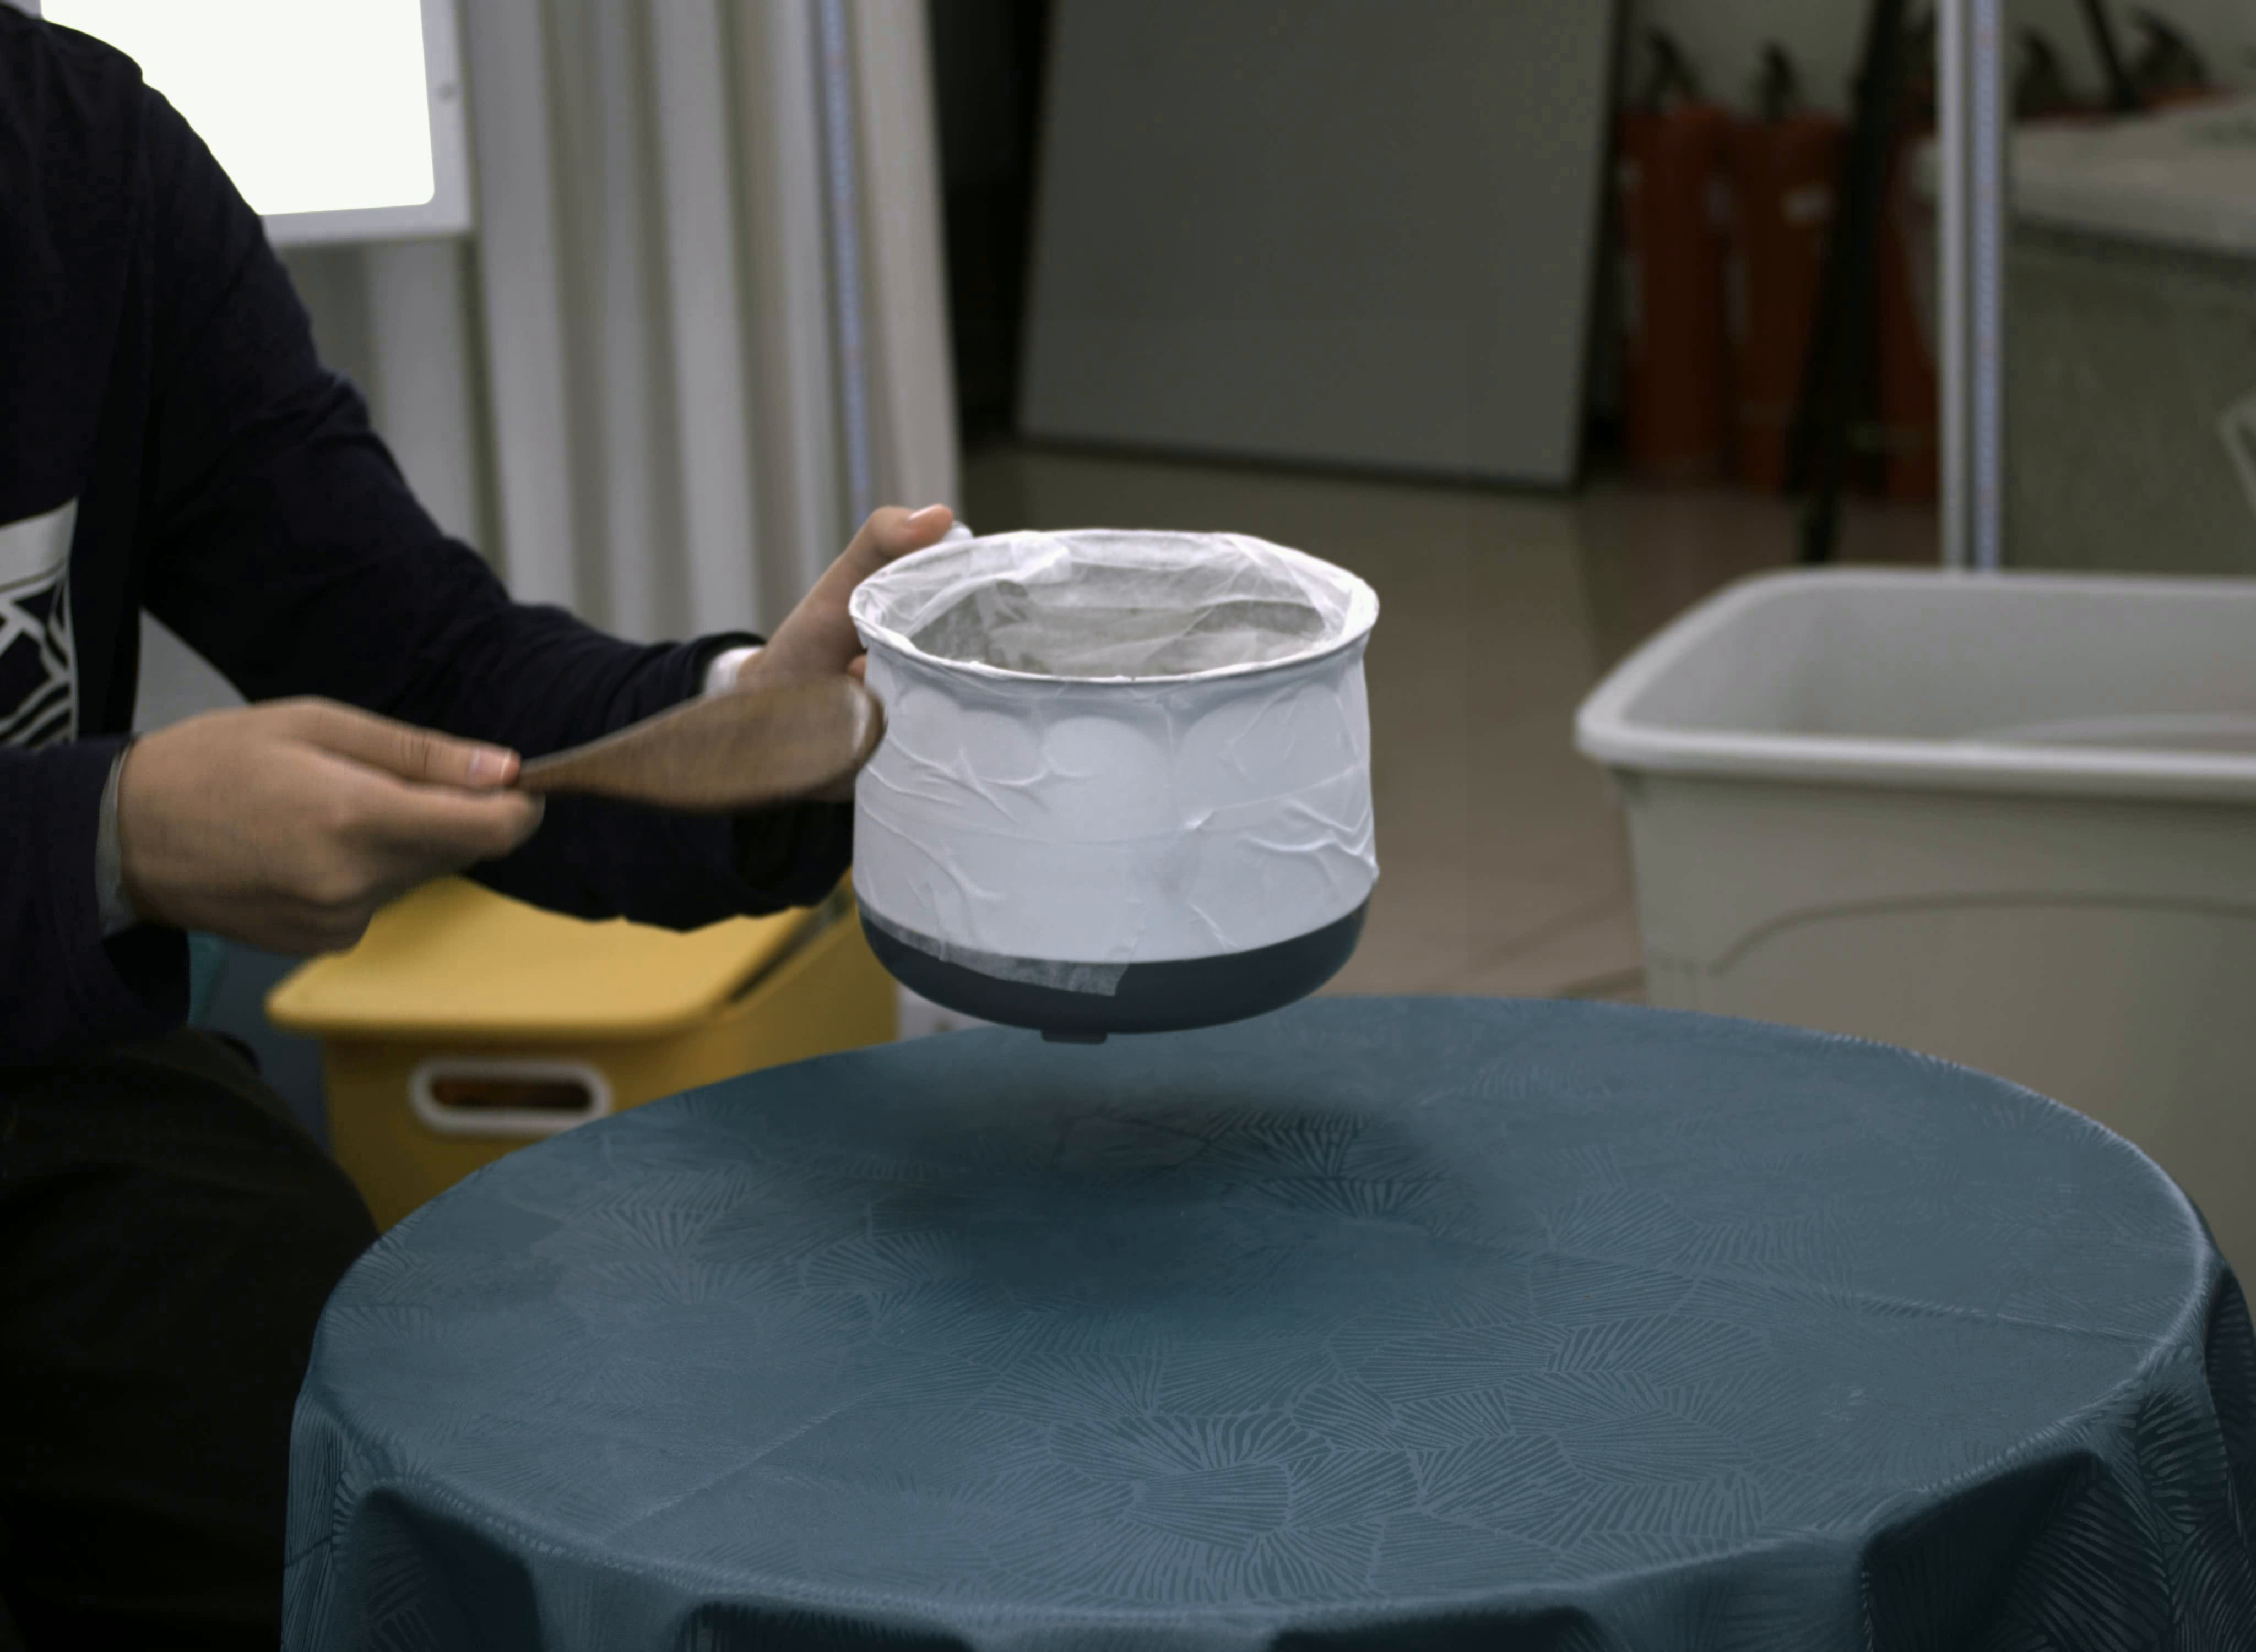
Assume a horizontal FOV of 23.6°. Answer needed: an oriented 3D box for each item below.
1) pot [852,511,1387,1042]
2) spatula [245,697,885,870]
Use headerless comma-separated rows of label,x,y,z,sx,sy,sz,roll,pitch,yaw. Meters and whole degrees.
pot,-0.020,-0.023,1.826,0.175,0.138,0.236,-10,21,-34
spatula,-0.178,-0.008,1.697,0.215,0.009,0.072,-10,30,17
